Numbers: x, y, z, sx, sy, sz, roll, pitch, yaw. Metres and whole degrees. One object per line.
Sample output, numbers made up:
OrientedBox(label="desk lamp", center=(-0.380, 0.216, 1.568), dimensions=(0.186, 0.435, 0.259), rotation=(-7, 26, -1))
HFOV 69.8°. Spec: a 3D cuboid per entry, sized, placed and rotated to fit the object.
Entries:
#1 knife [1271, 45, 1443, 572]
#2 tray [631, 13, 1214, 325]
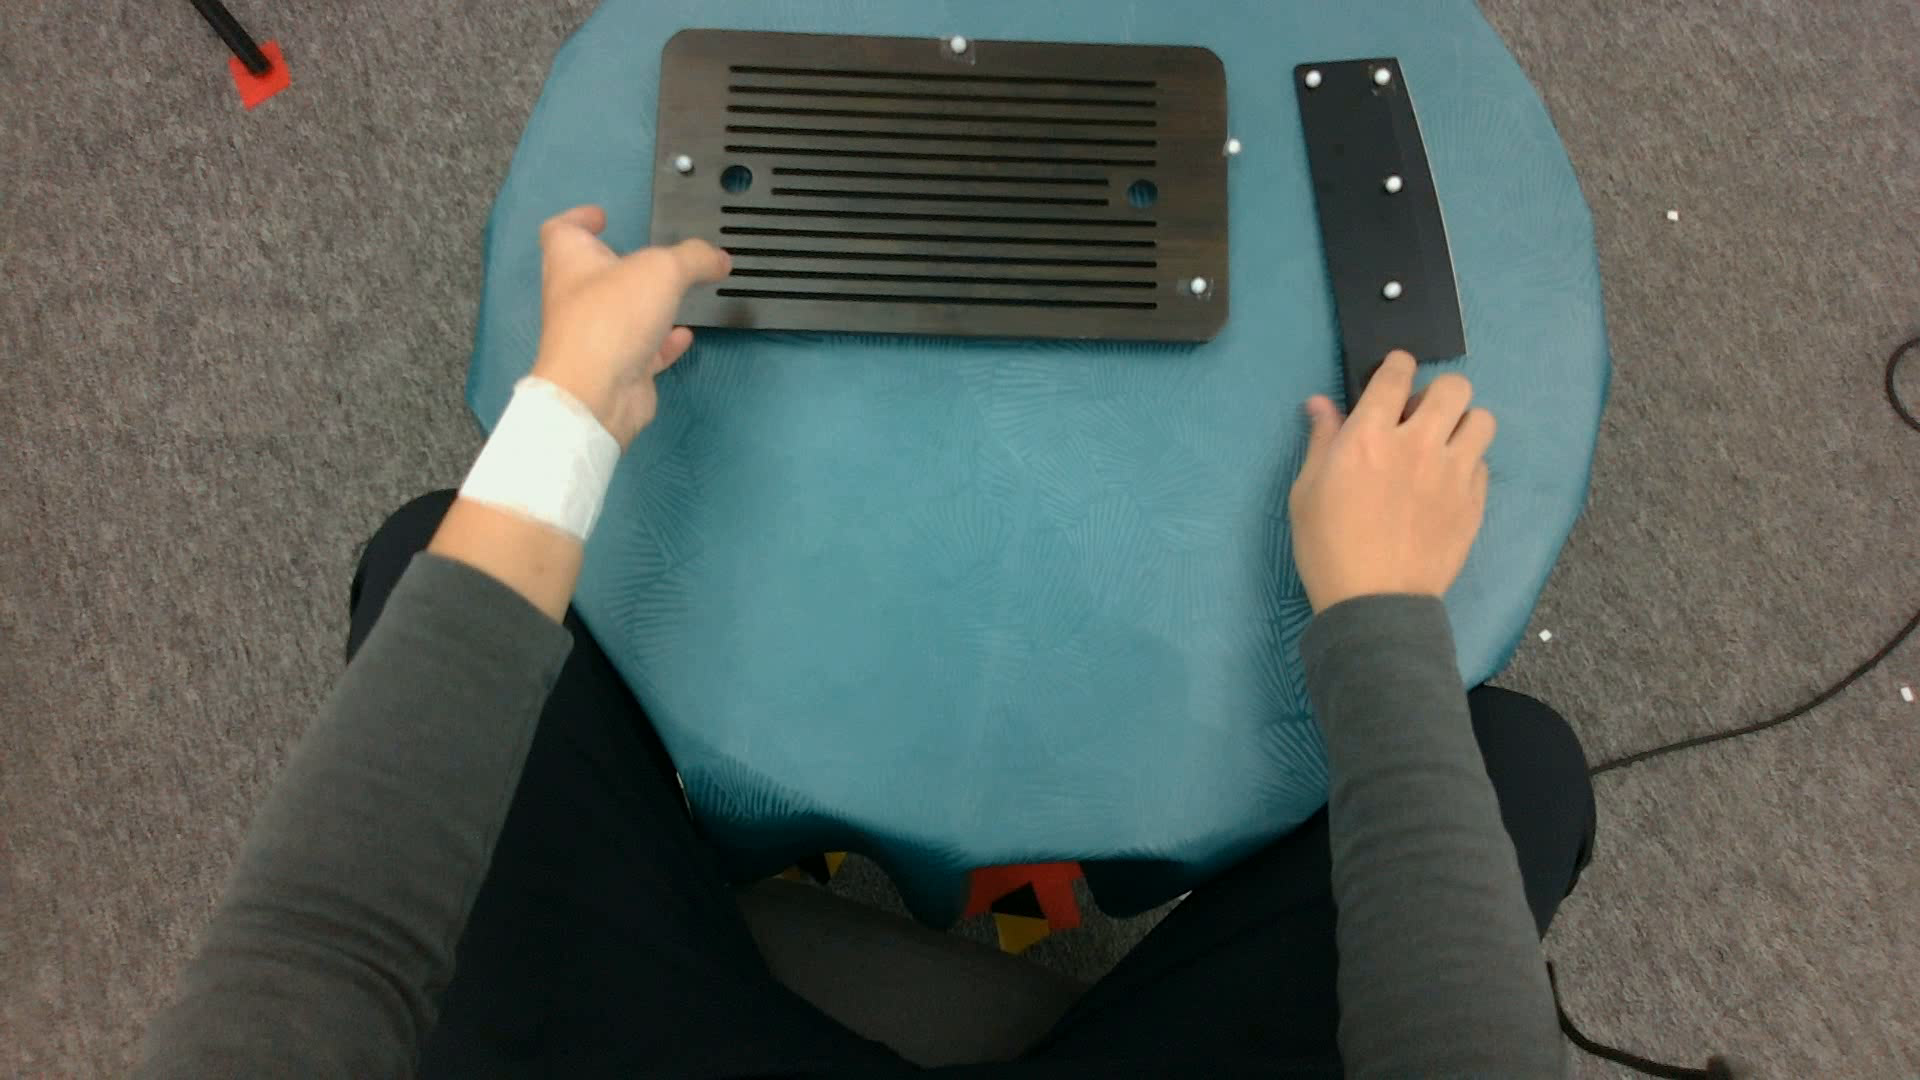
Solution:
OrientedBox(label="knife", center=(0.220, -0.131, 0.737), dimensions=(0.081, 0.021, 0.303), rotation=(-2, 76, -3))
OrientedBox(label="tray", center=(-0.018, -0.198, 0.739), dimensions=(0.306, 0.018, 0.170), rotation=(1, 78, -2))
